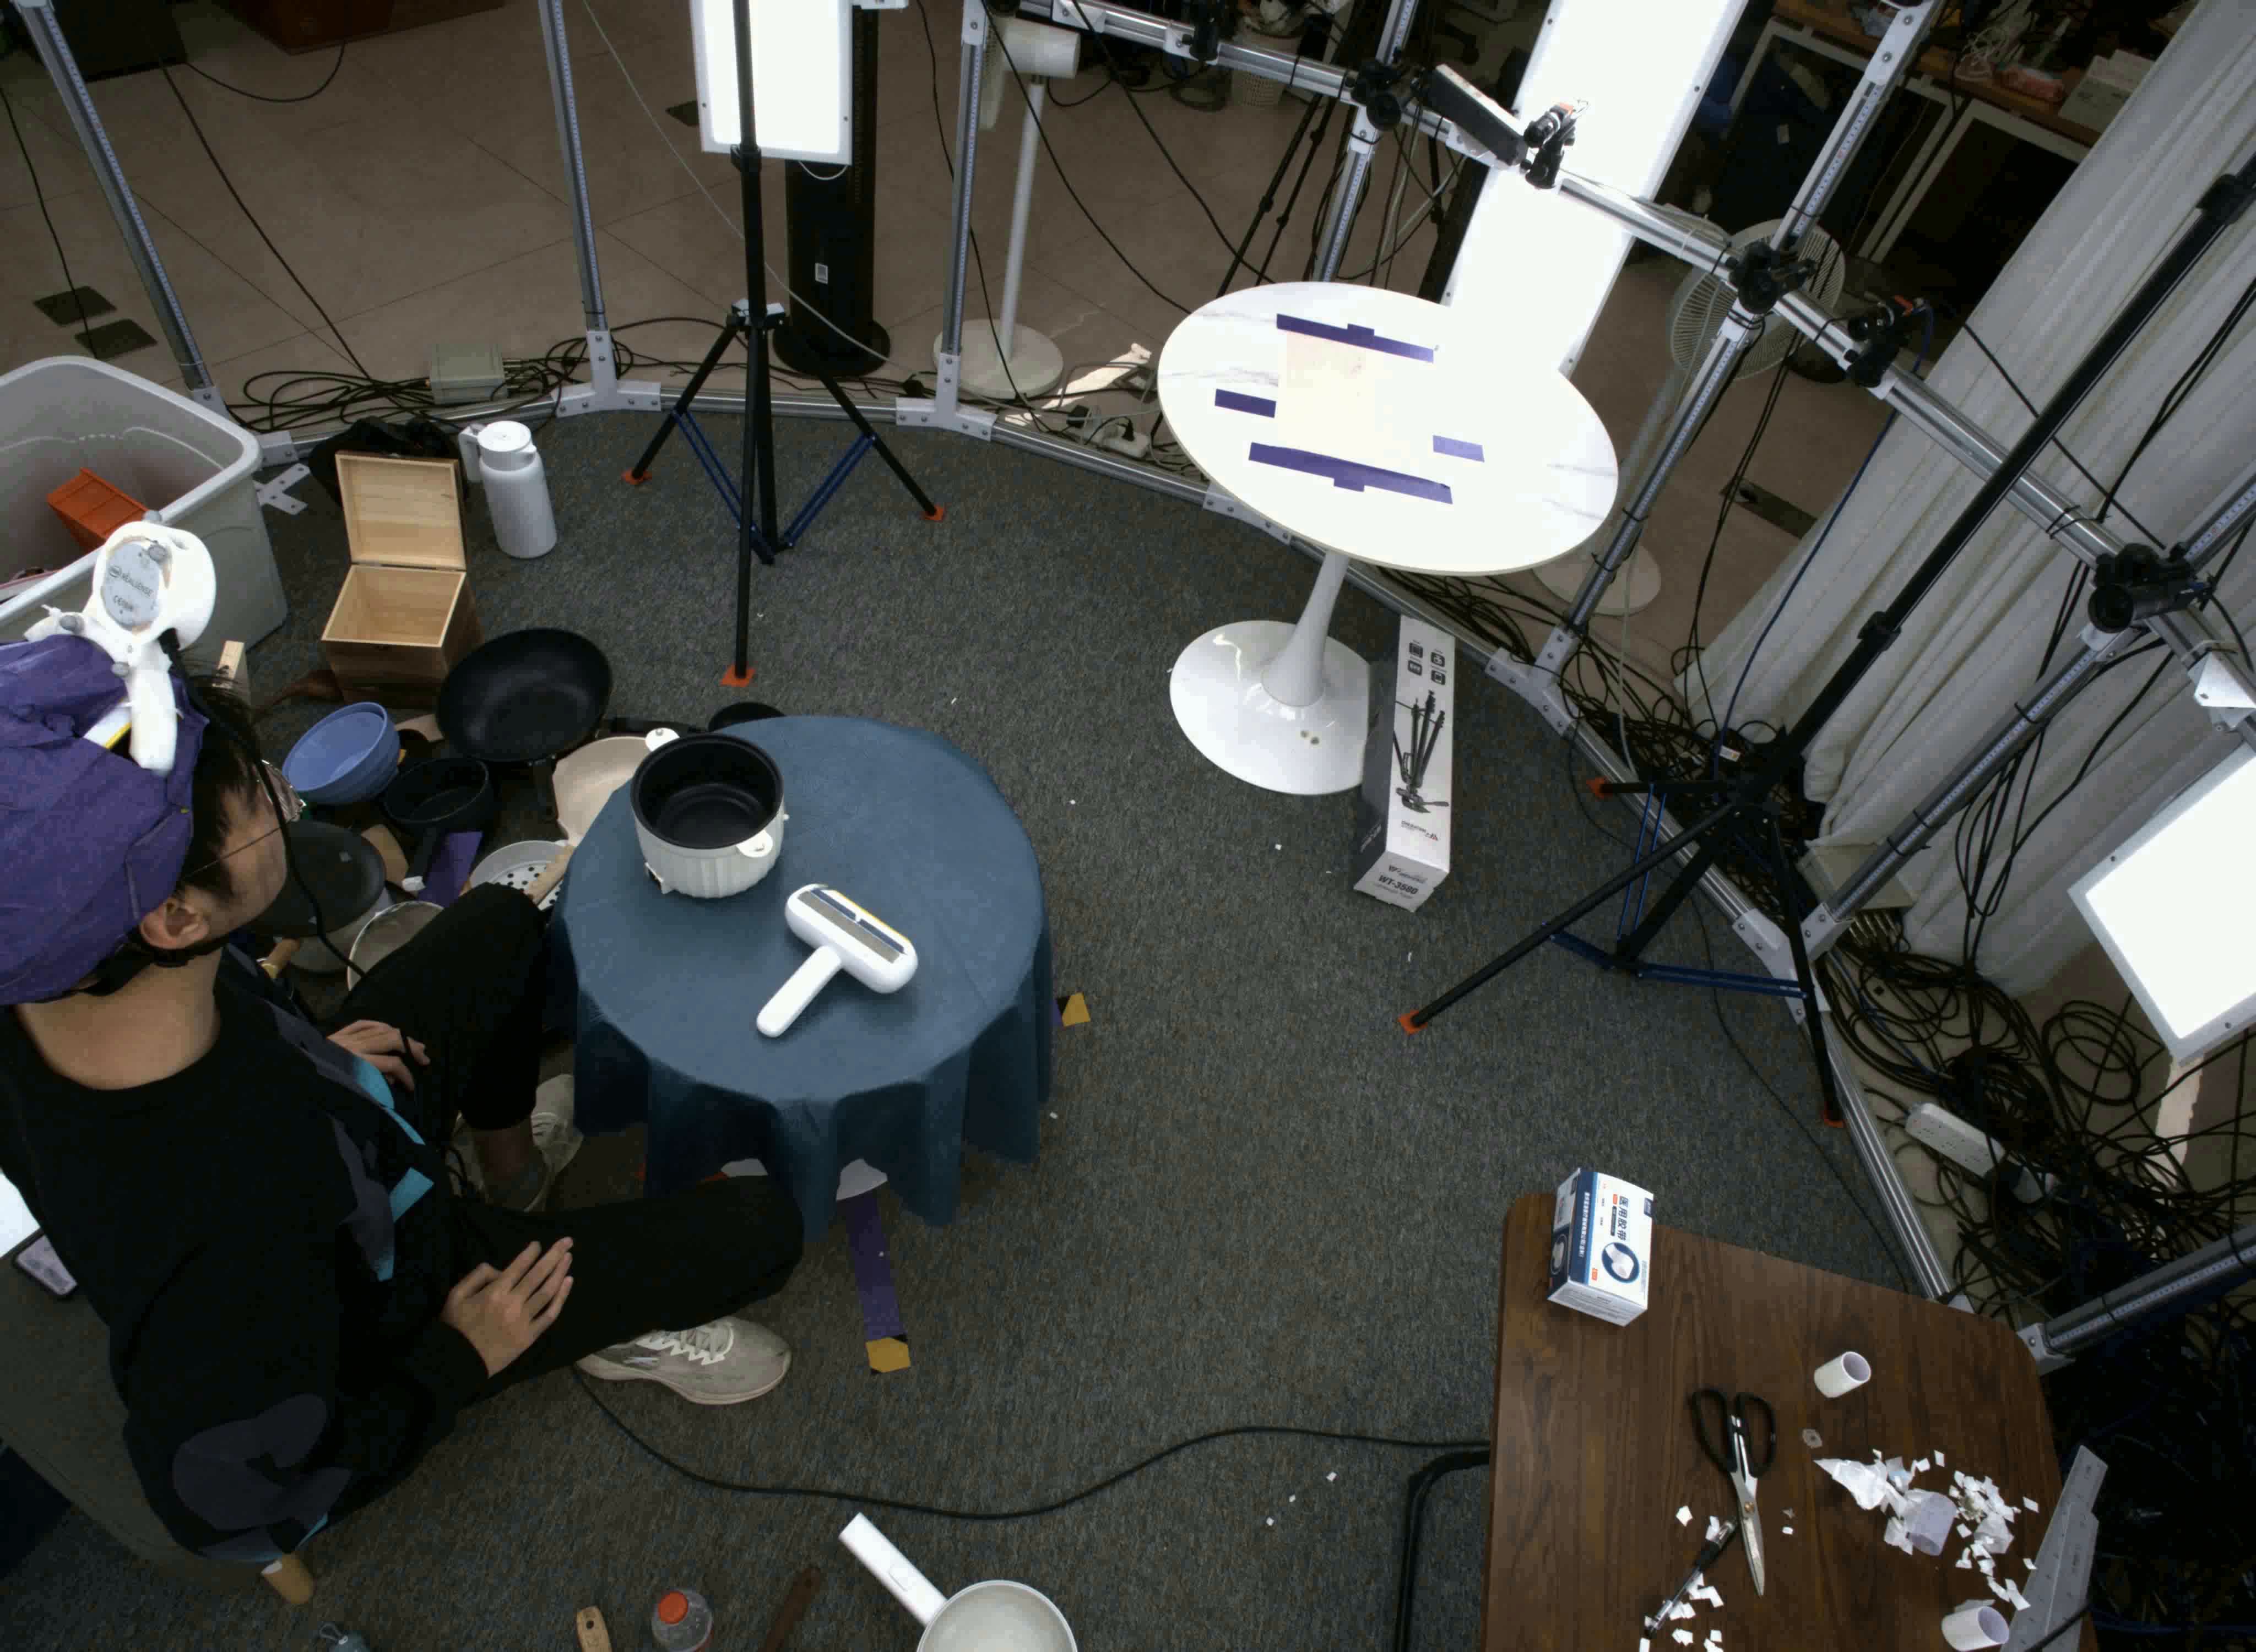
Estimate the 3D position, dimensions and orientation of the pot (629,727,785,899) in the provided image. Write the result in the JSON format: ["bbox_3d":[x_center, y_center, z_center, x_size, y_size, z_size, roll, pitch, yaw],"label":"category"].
[{"bbox_3d":[-0.521,-0.011,1.622,0.235,0.145,0.191,43,58,17],"label":"pot"}]

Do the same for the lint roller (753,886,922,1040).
[{"bbox_3d":[-0.373,0.176,1.570,0.188,0.076,0.192,36,55,20],"label":"lint roller"}]
